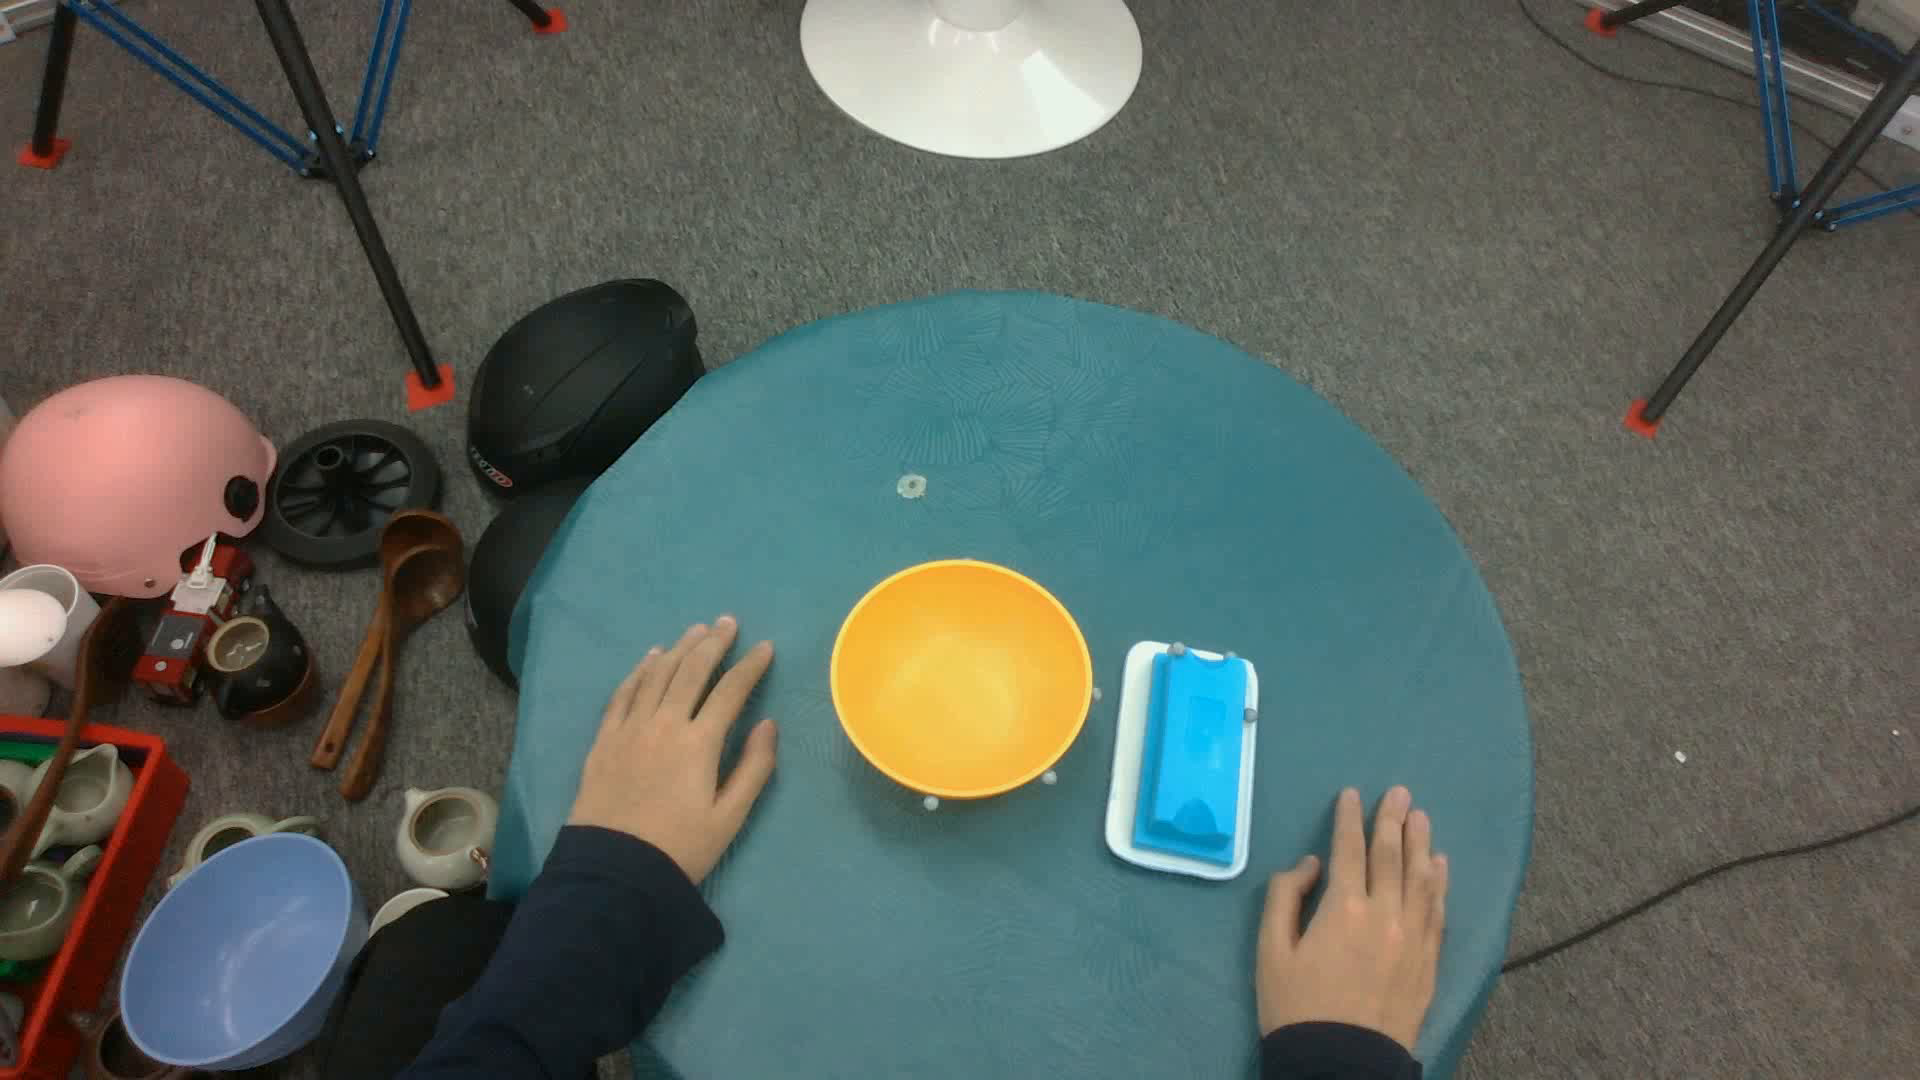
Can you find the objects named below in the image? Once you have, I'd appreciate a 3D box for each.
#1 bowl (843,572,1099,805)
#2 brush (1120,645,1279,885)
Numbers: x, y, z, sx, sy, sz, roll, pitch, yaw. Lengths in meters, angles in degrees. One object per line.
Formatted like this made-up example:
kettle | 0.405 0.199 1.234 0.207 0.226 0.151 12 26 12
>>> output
bowl | 0.005 0.094 0.790 0.145 0.060 0.146 2 55 -2
brush | 0.139 0.119 0.779 0.084 0.055 0.144 9 55 6
